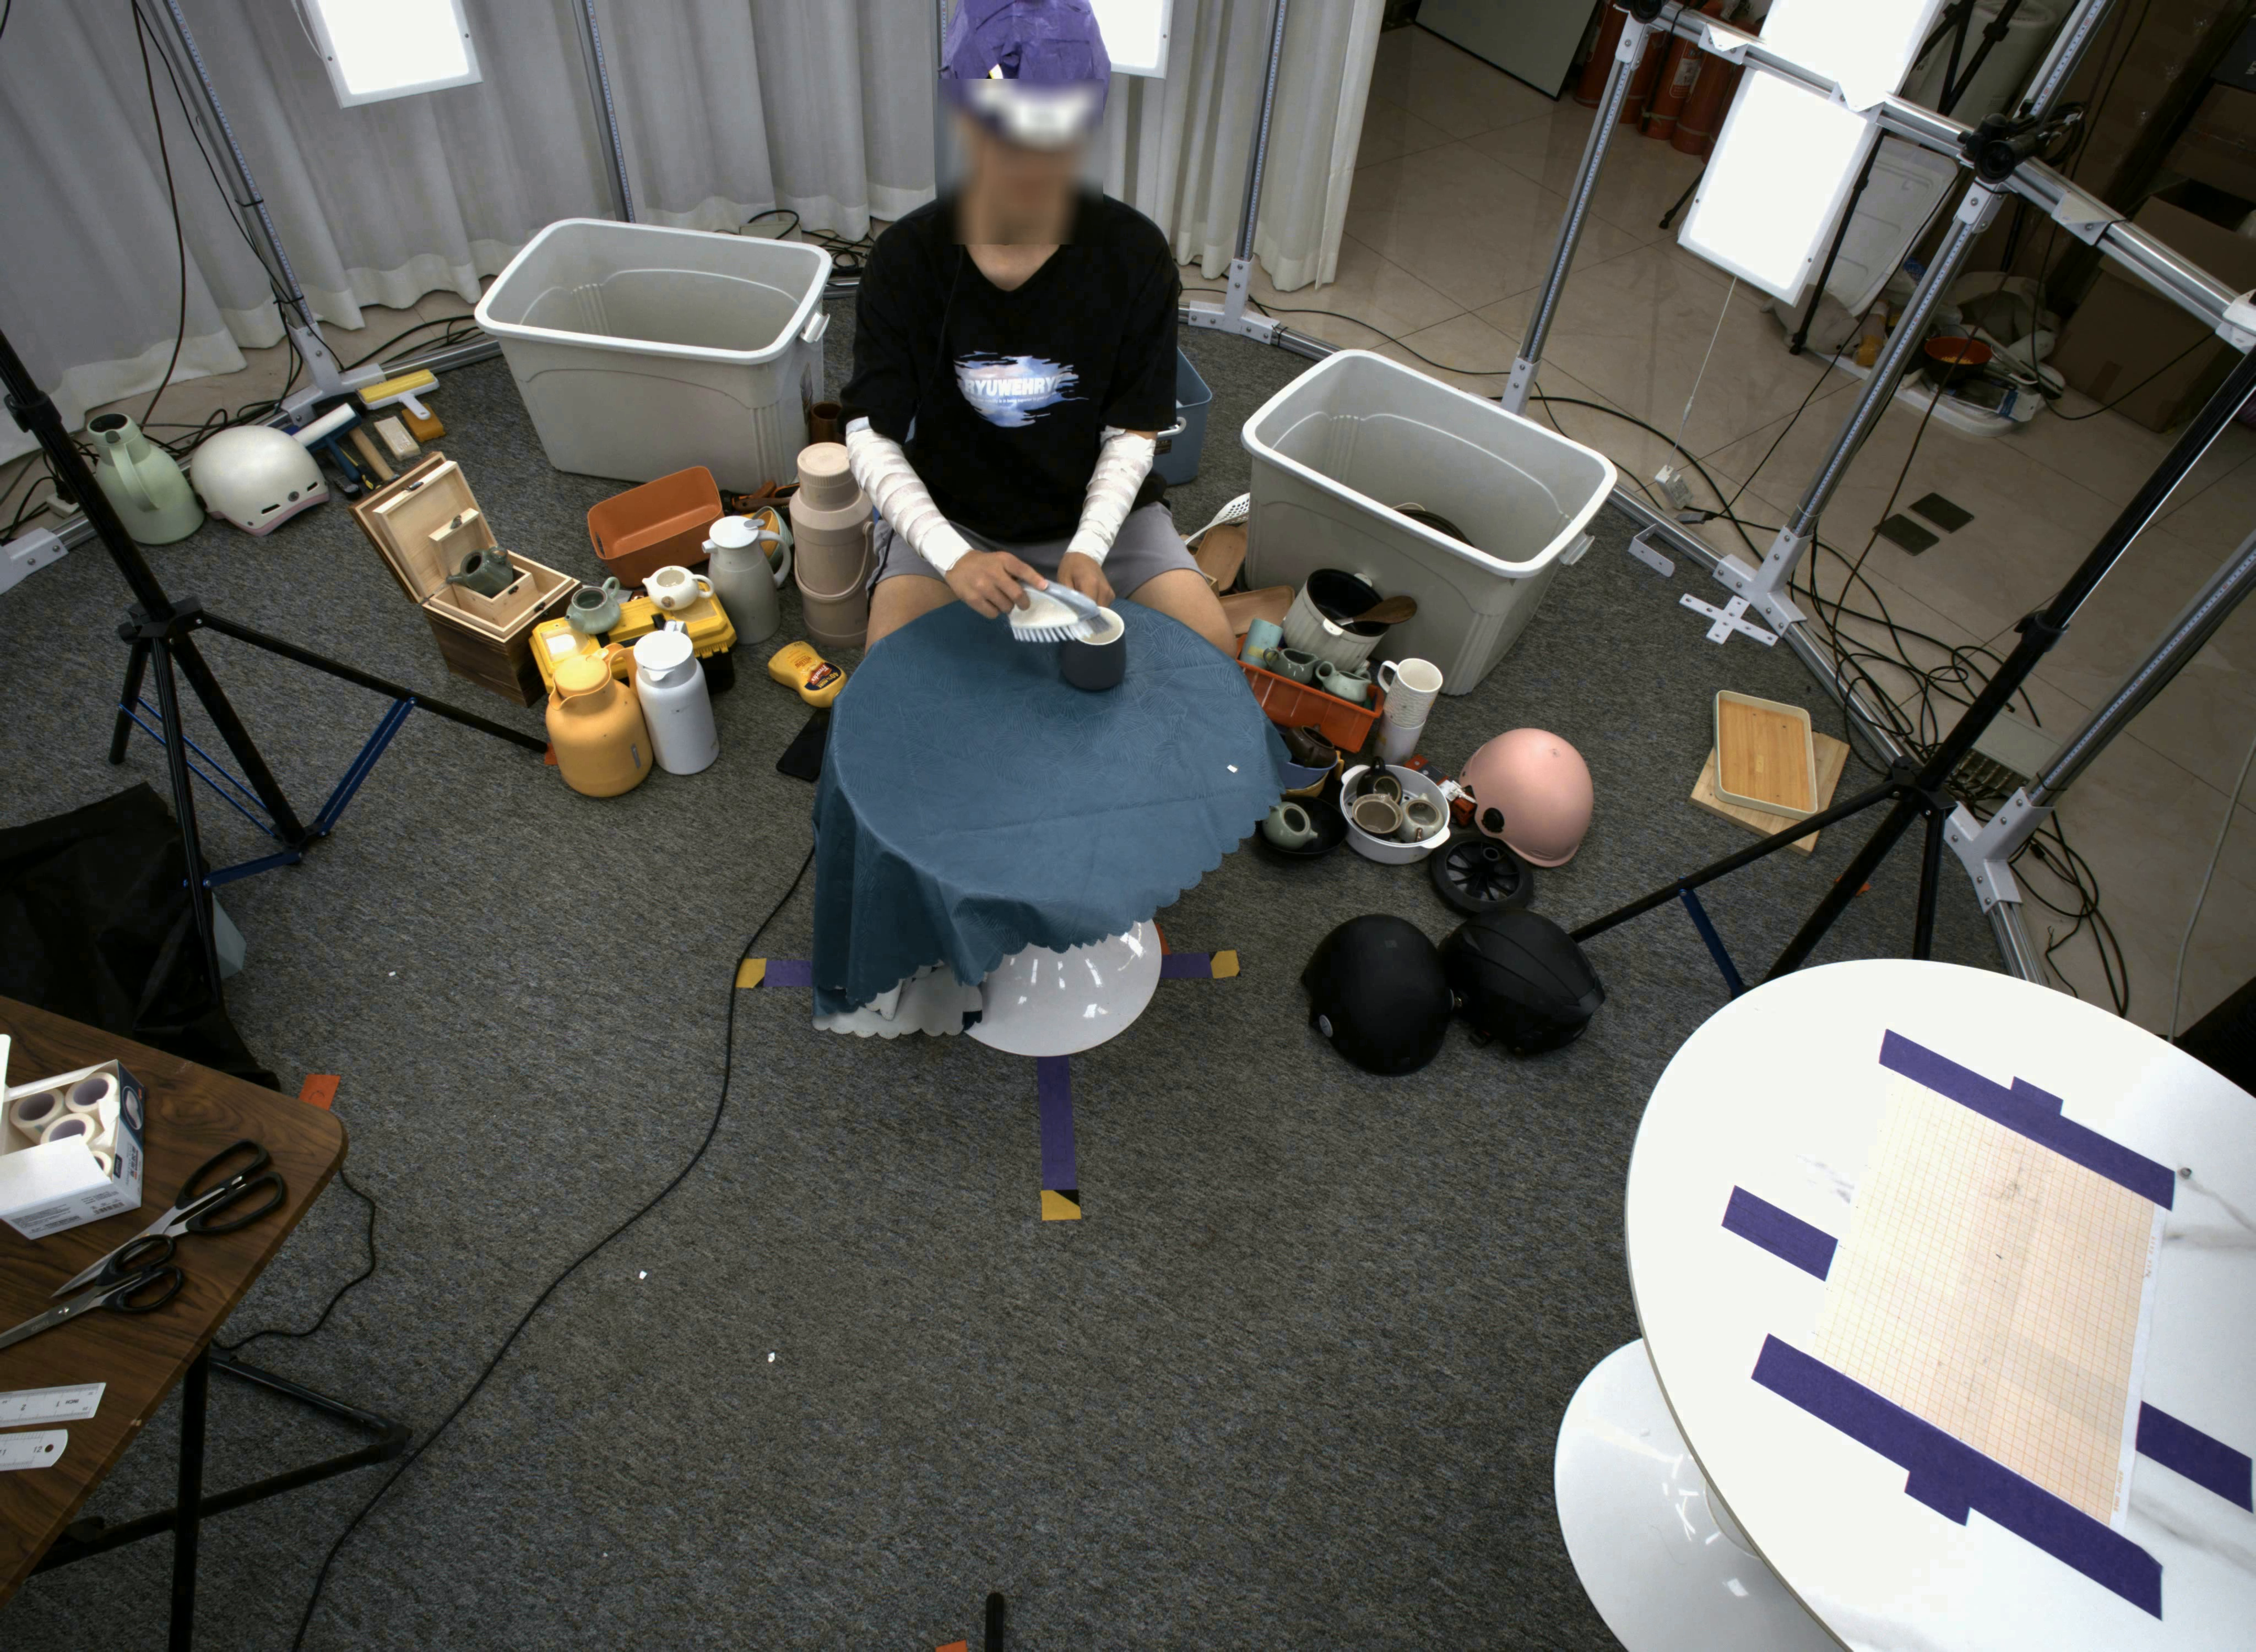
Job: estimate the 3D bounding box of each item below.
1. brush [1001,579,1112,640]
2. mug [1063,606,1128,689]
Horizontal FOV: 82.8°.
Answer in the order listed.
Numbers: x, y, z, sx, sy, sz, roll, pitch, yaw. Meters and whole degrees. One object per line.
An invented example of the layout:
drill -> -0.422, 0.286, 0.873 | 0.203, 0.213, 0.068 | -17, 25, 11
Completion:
brush -> -0.106, -0.306, 1.780 | 0.177, 0.092, 0.062 | 14, 66, 42
mug -> -0.051, -0.265, 1.839 | 0.093, 0.088, 0.126 | -16, 53, -16
